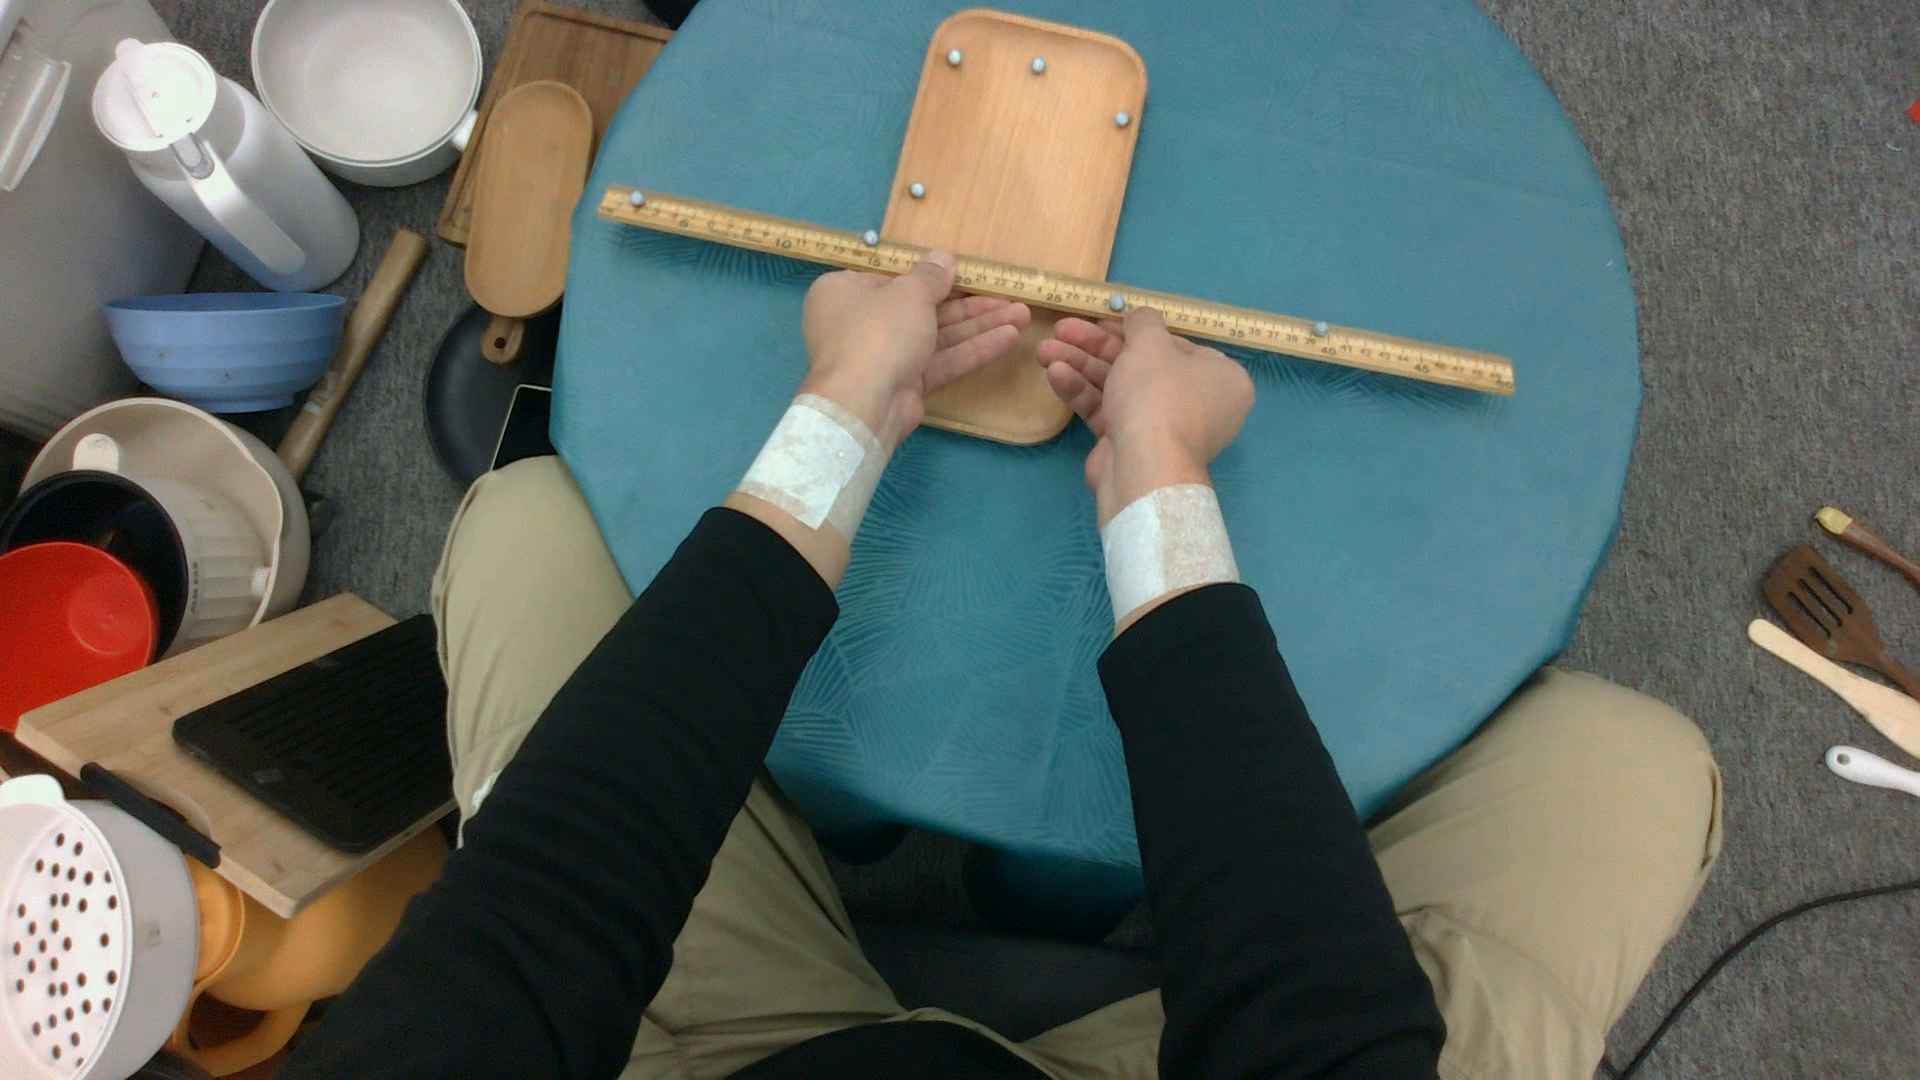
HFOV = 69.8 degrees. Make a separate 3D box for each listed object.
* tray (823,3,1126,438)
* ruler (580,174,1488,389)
[{"bbox_3d":[0.011,-0.181,0.770,0.130,0.023,0.251,13,77,3],"label":"tray"},{"bbox_3d":[0.041,-0.140,0.747,0.500,0.006,0.027,12,53,0],"label":"ruler"}]
